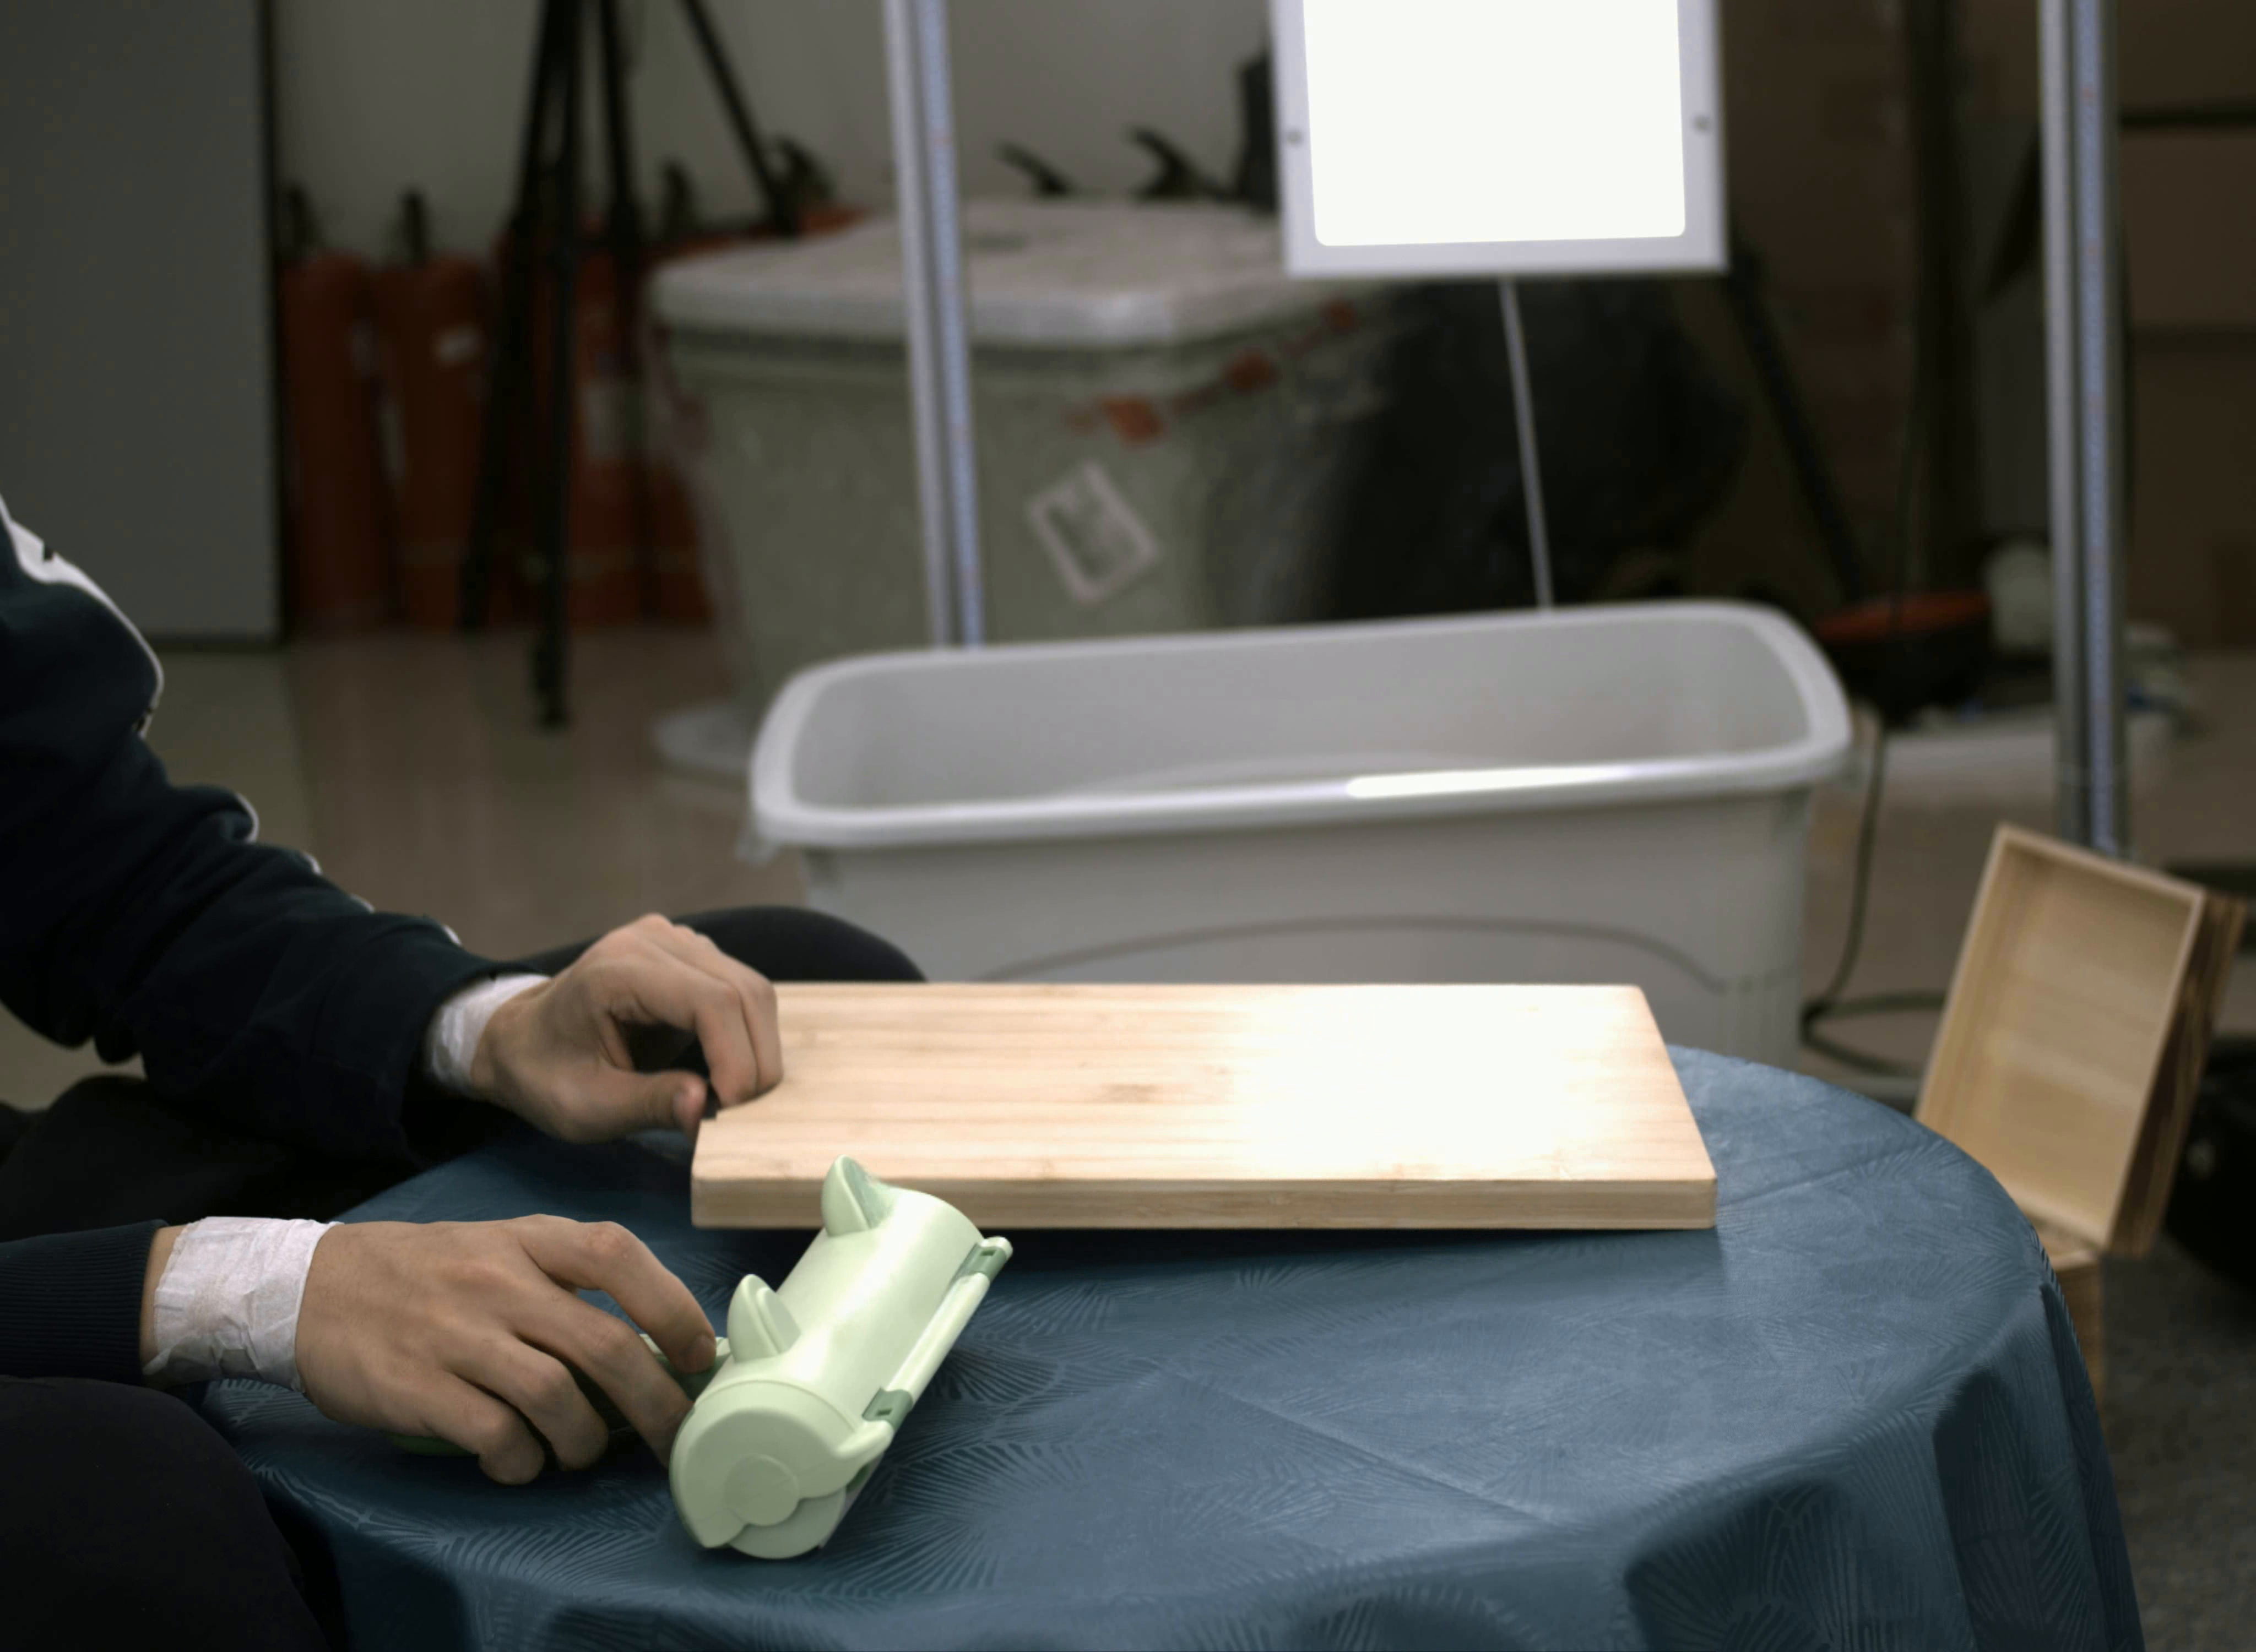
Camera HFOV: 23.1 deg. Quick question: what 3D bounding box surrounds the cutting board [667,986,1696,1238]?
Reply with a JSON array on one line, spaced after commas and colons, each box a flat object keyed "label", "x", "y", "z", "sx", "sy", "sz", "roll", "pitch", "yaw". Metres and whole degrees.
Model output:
[{"label": "cutting board", "x": 0.019, "y": 0.098, "z": 1.922, "sx": 0.348, "sy": 0.024, "sz": 0.250, "roll": -1, "pitch": 13, "yaw": 0}]

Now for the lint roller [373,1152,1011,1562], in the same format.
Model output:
[{"label": "lint roller", "x": -0.142, "y": 0.154, "z": 1.675, "sx": 0.184, "sy": 0.082, "sz": 0.196, "roll": 2, "pitch": 15, "yaw": 12}]
